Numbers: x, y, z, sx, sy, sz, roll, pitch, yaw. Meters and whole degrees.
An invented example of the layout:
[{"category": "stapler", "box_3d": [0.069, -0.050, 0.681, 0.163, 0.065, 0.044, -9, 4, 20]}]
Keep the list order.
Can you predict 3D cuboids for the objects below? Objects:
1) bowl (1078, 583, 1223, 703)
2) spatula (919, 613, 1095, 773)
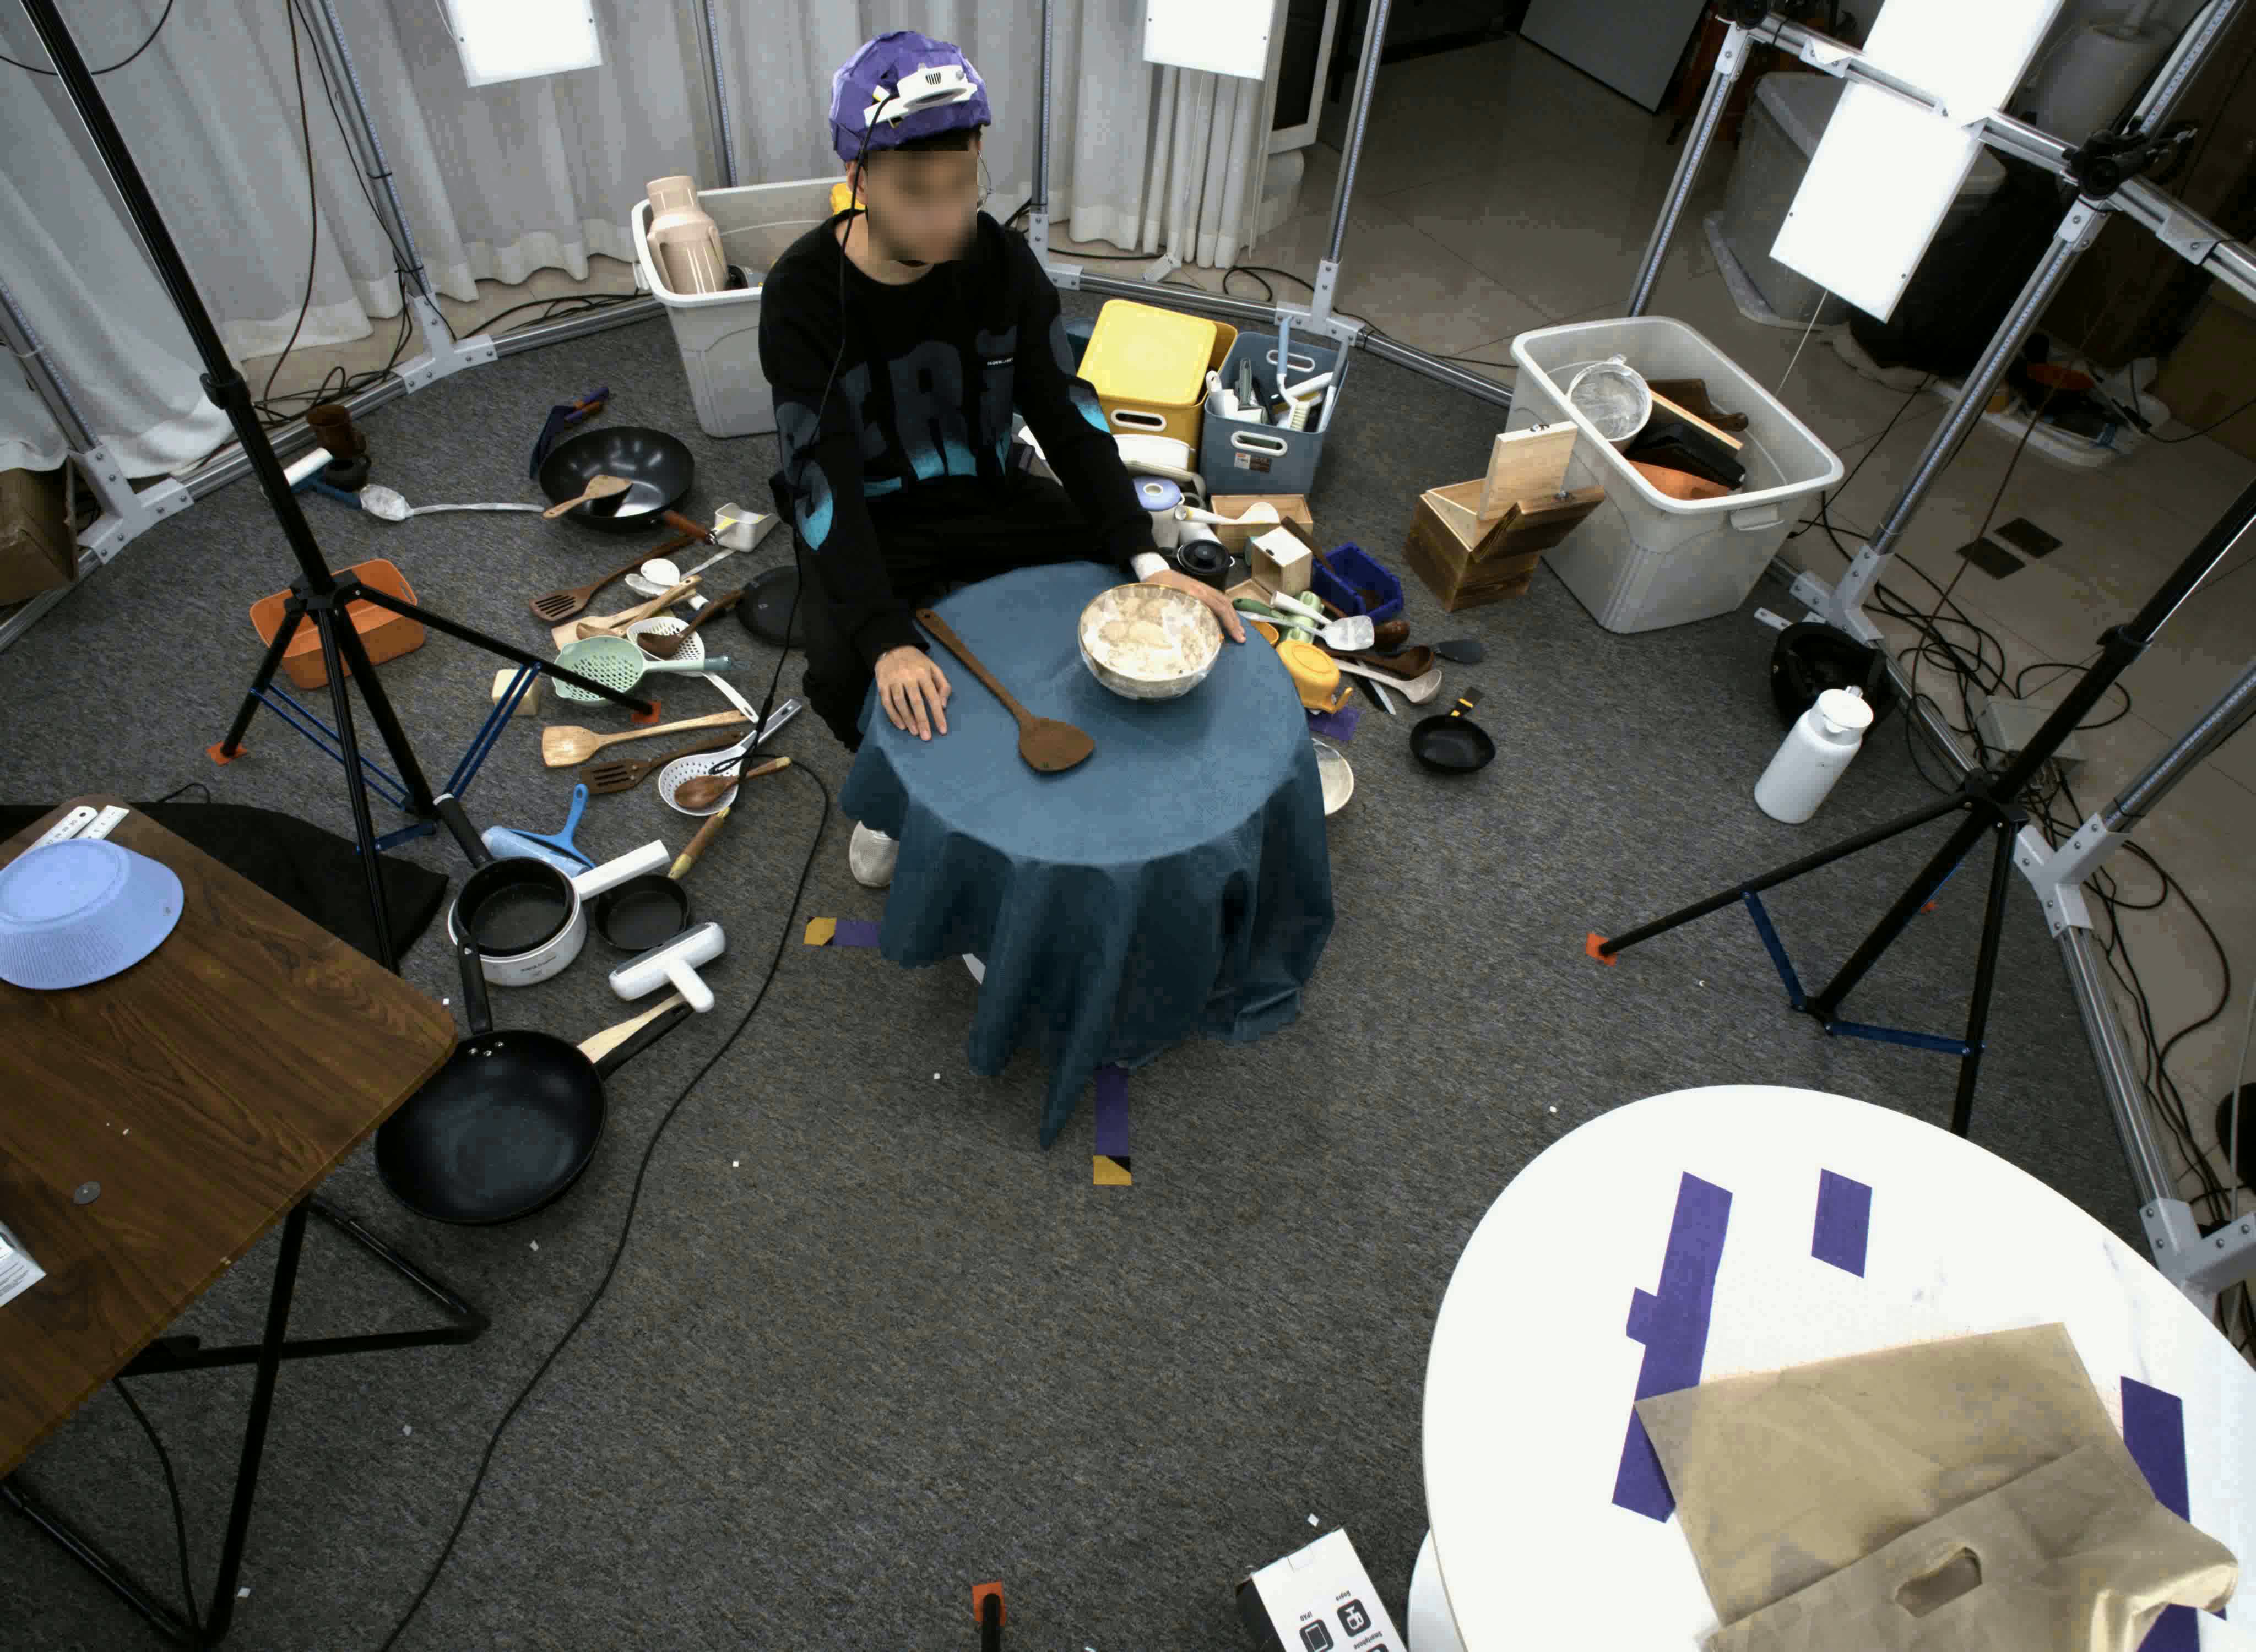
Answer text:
[{"category": "bowl", "box_3d": [0.031, -0.248, 1.842, 0.214, 0.092, 0.220, 1, 49, -1]}, {"category": "spatula", "box_3d": [-0.190, -0.201, 1.838, 0.096, 0.015, 0.393, -28, 56, -26]}]
